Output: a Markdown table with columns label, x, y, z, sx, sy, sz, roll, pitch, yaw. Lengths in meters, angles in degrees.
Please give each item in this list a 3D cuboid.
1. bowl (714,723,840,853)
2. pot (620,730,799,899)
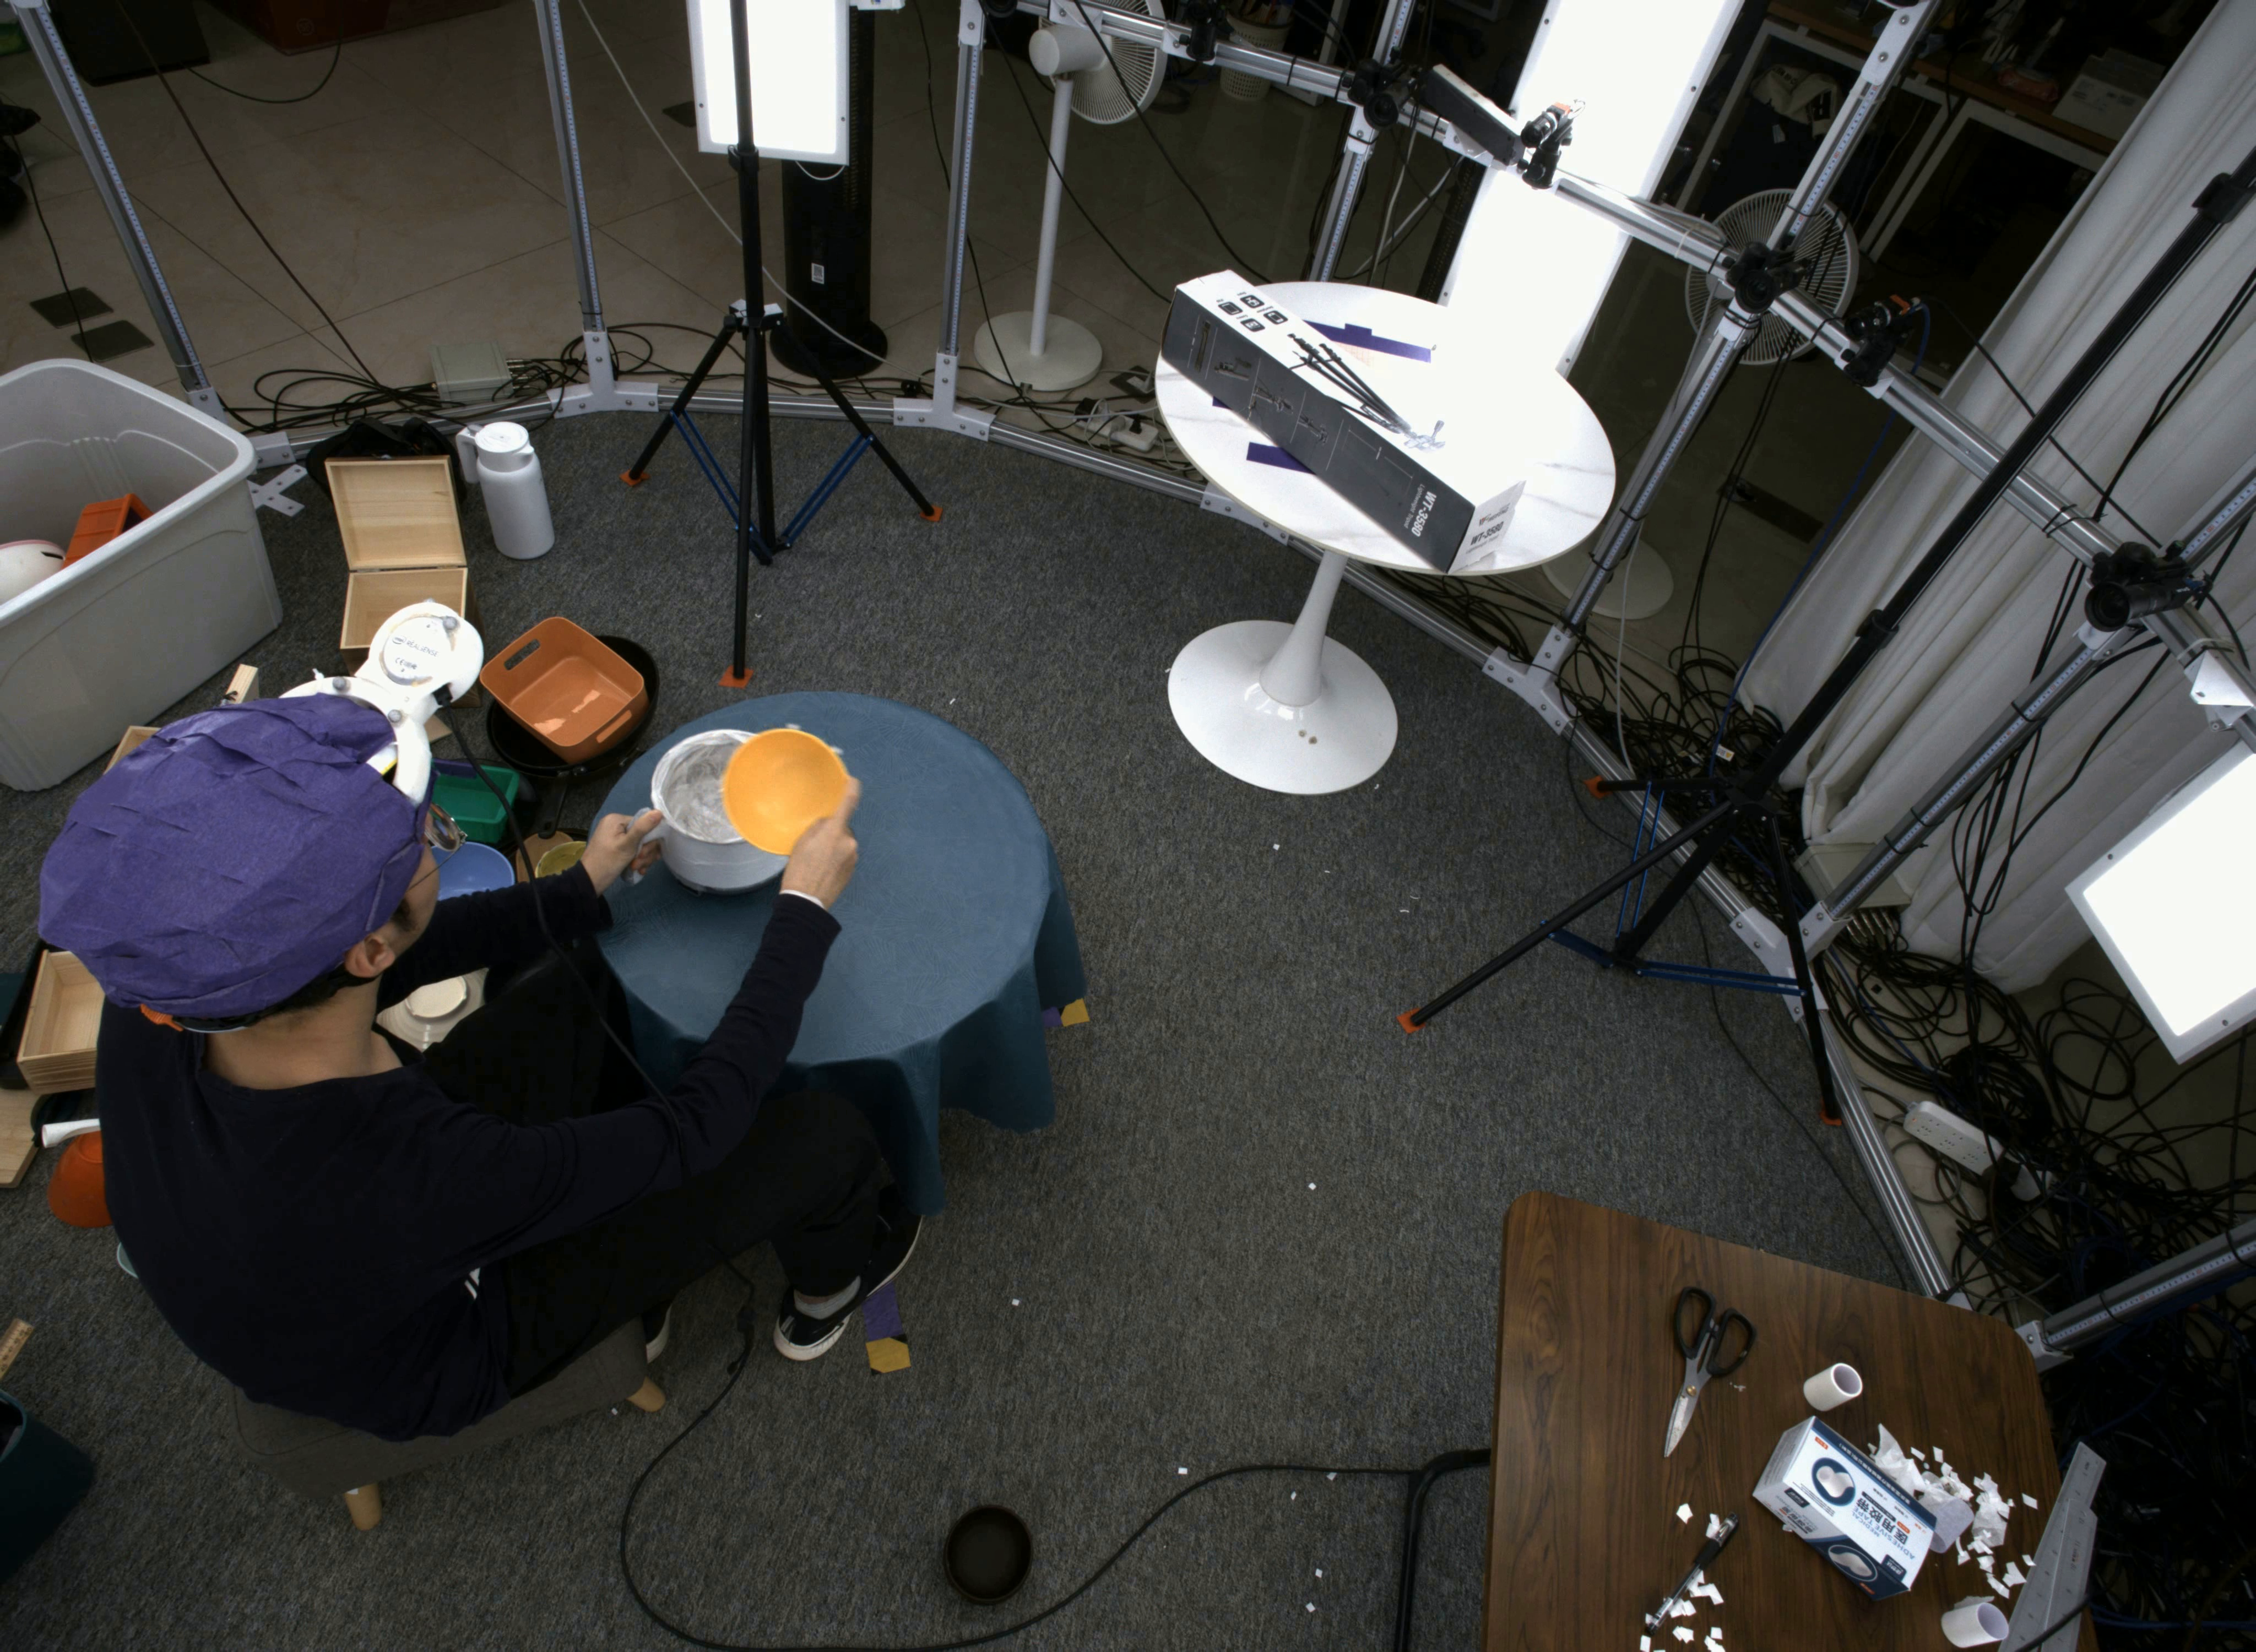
| label | x | y | z | sx | sy | sz | roll | pitch | yaw |
| --- | --- | --- | --- | --- | --- | --- | --- | --- | --- |
| bowl | -0.394 | -0.046 | 1.482 | 0.144 | 0.148 | 0.059 | 13 | 9 | -4 |
| pot | -0.525 | -0.002 | 1.614 | 0.235 | 0.139 | 0.174 | -25 | 62 | -31 |
